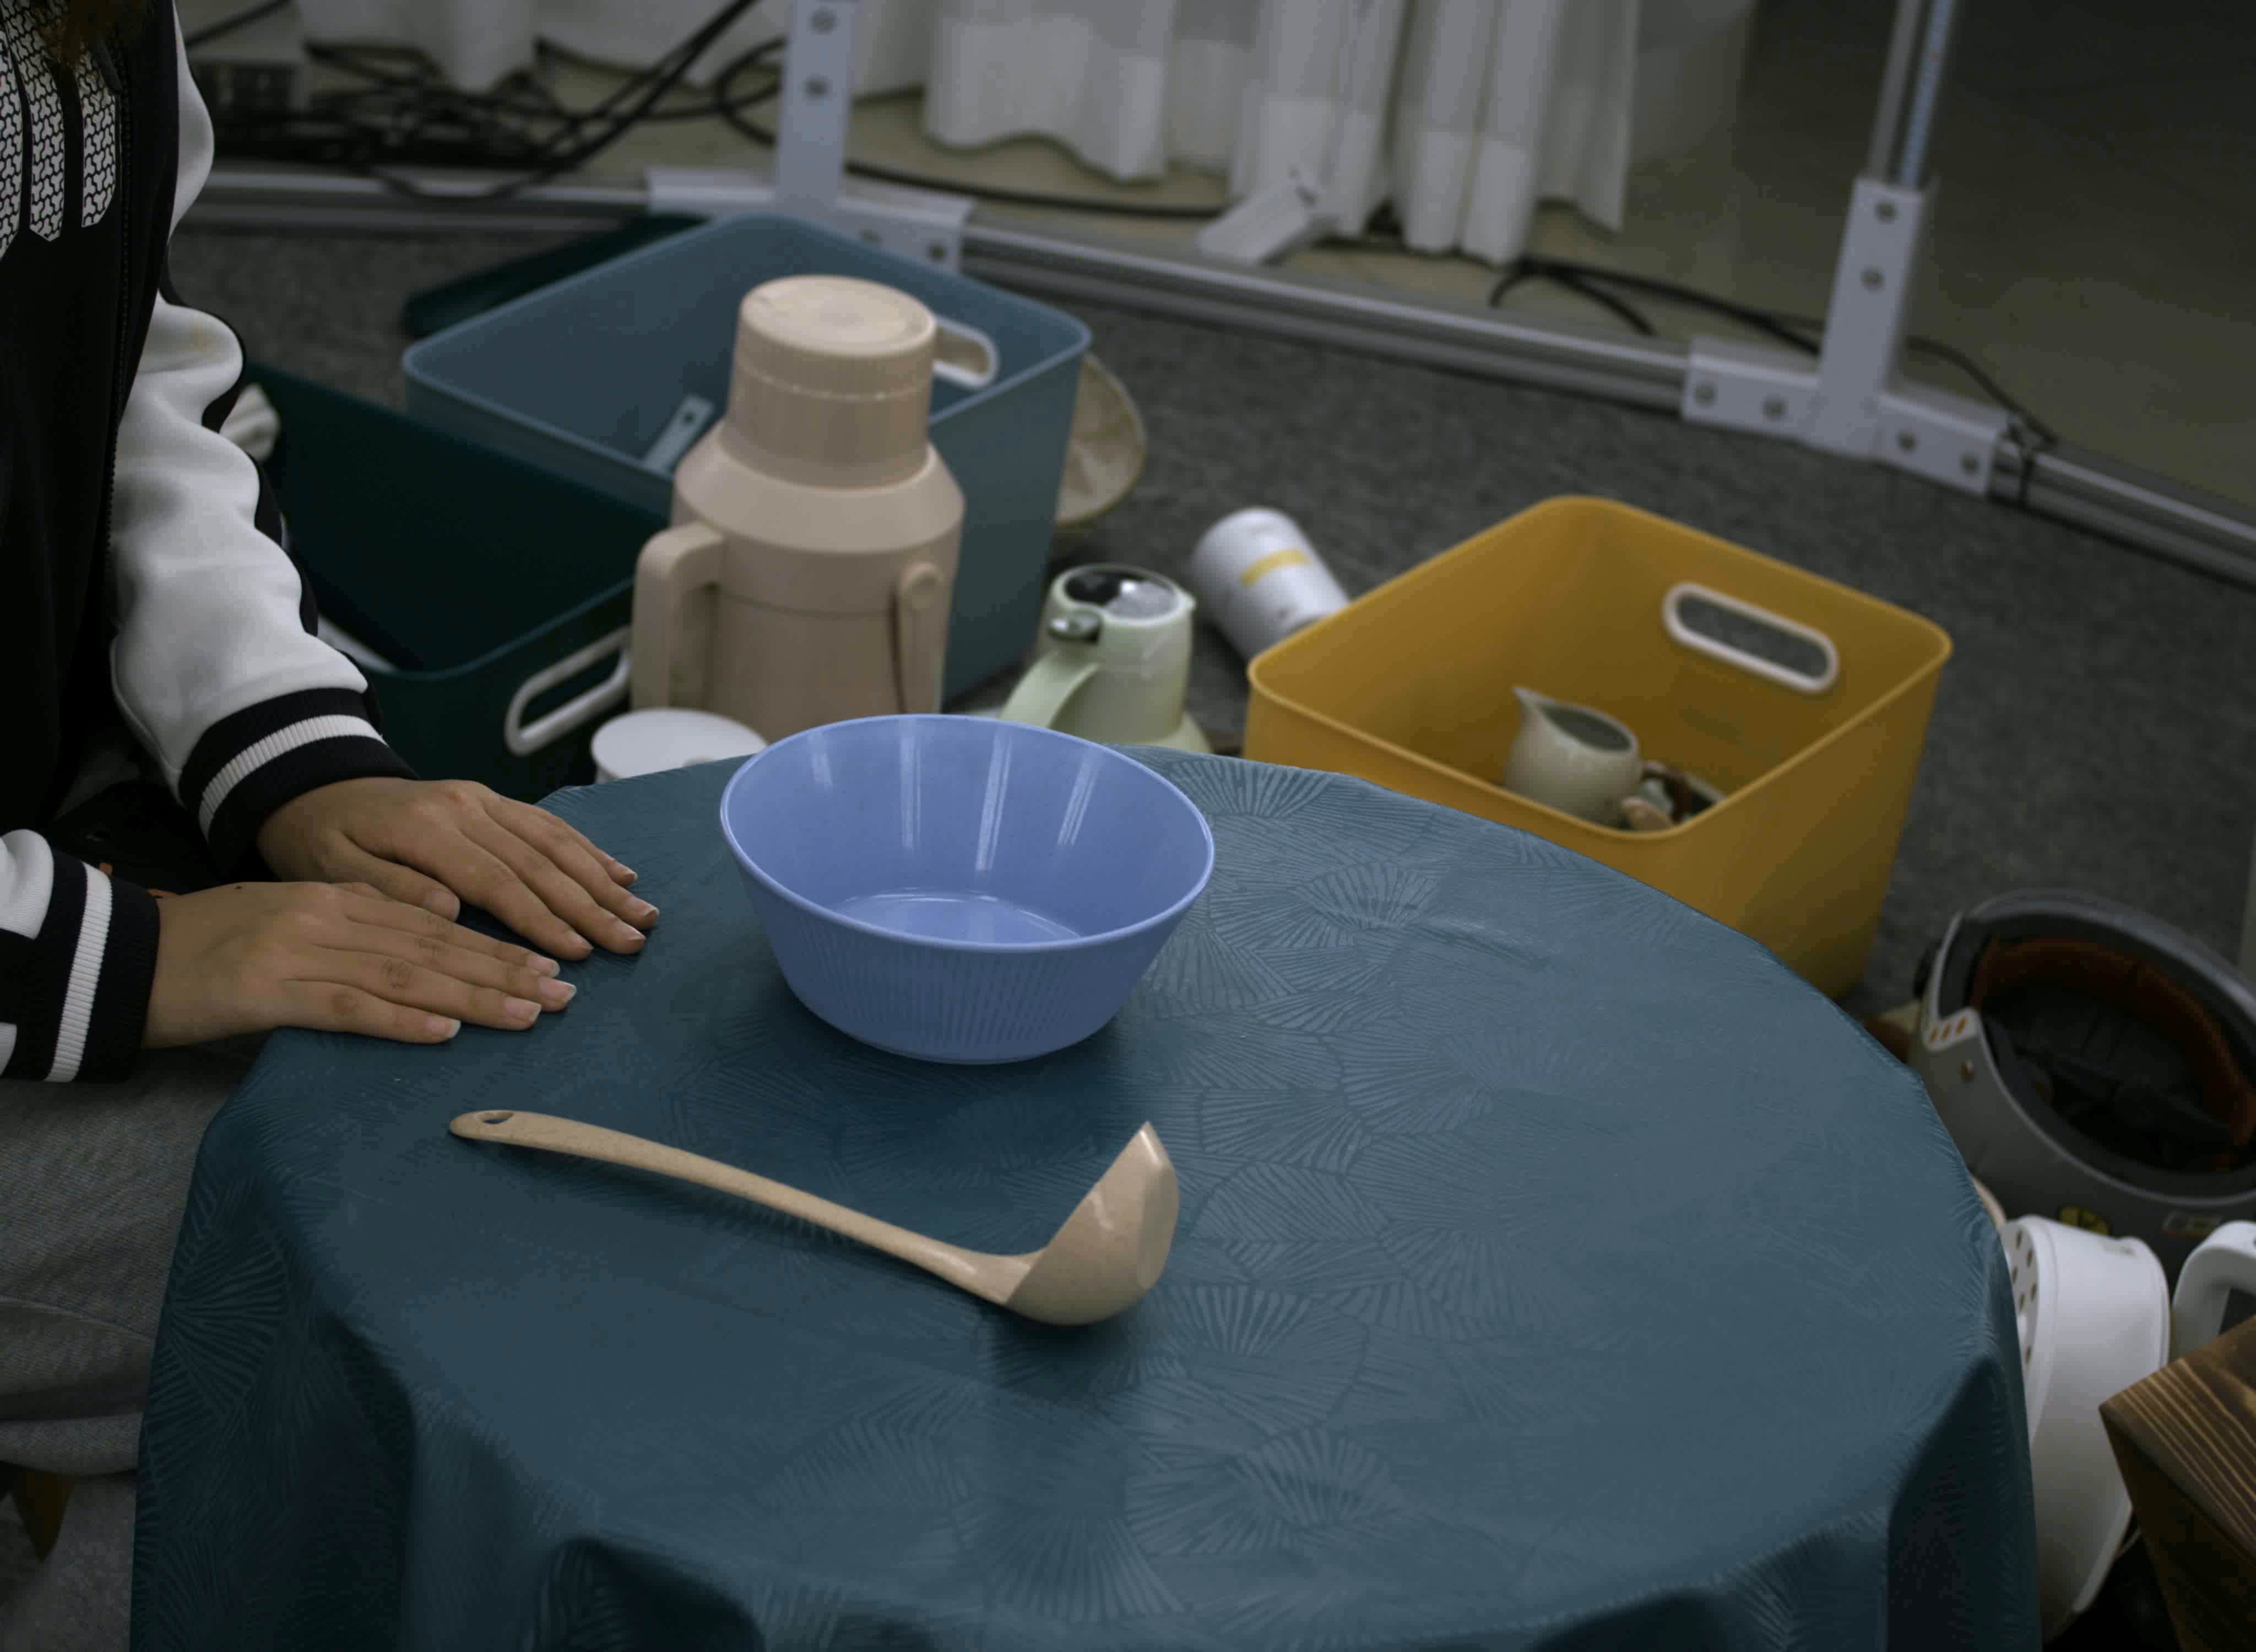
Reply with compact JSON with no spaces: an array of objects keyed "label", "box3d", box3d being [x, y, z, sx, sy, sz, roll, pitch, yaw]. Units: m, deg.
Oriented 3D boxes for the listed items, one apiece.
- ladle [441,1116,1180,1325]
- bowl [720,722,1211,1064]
[{"label":"ladle","box3d":[-0.107,0.102,1.740,0.255,0.072,0.072,14,27,15]},{"label":"bowl","box3d":[-0.061,0.029,1.897,0.175,0.070,0.177,6,26,-3]}]
